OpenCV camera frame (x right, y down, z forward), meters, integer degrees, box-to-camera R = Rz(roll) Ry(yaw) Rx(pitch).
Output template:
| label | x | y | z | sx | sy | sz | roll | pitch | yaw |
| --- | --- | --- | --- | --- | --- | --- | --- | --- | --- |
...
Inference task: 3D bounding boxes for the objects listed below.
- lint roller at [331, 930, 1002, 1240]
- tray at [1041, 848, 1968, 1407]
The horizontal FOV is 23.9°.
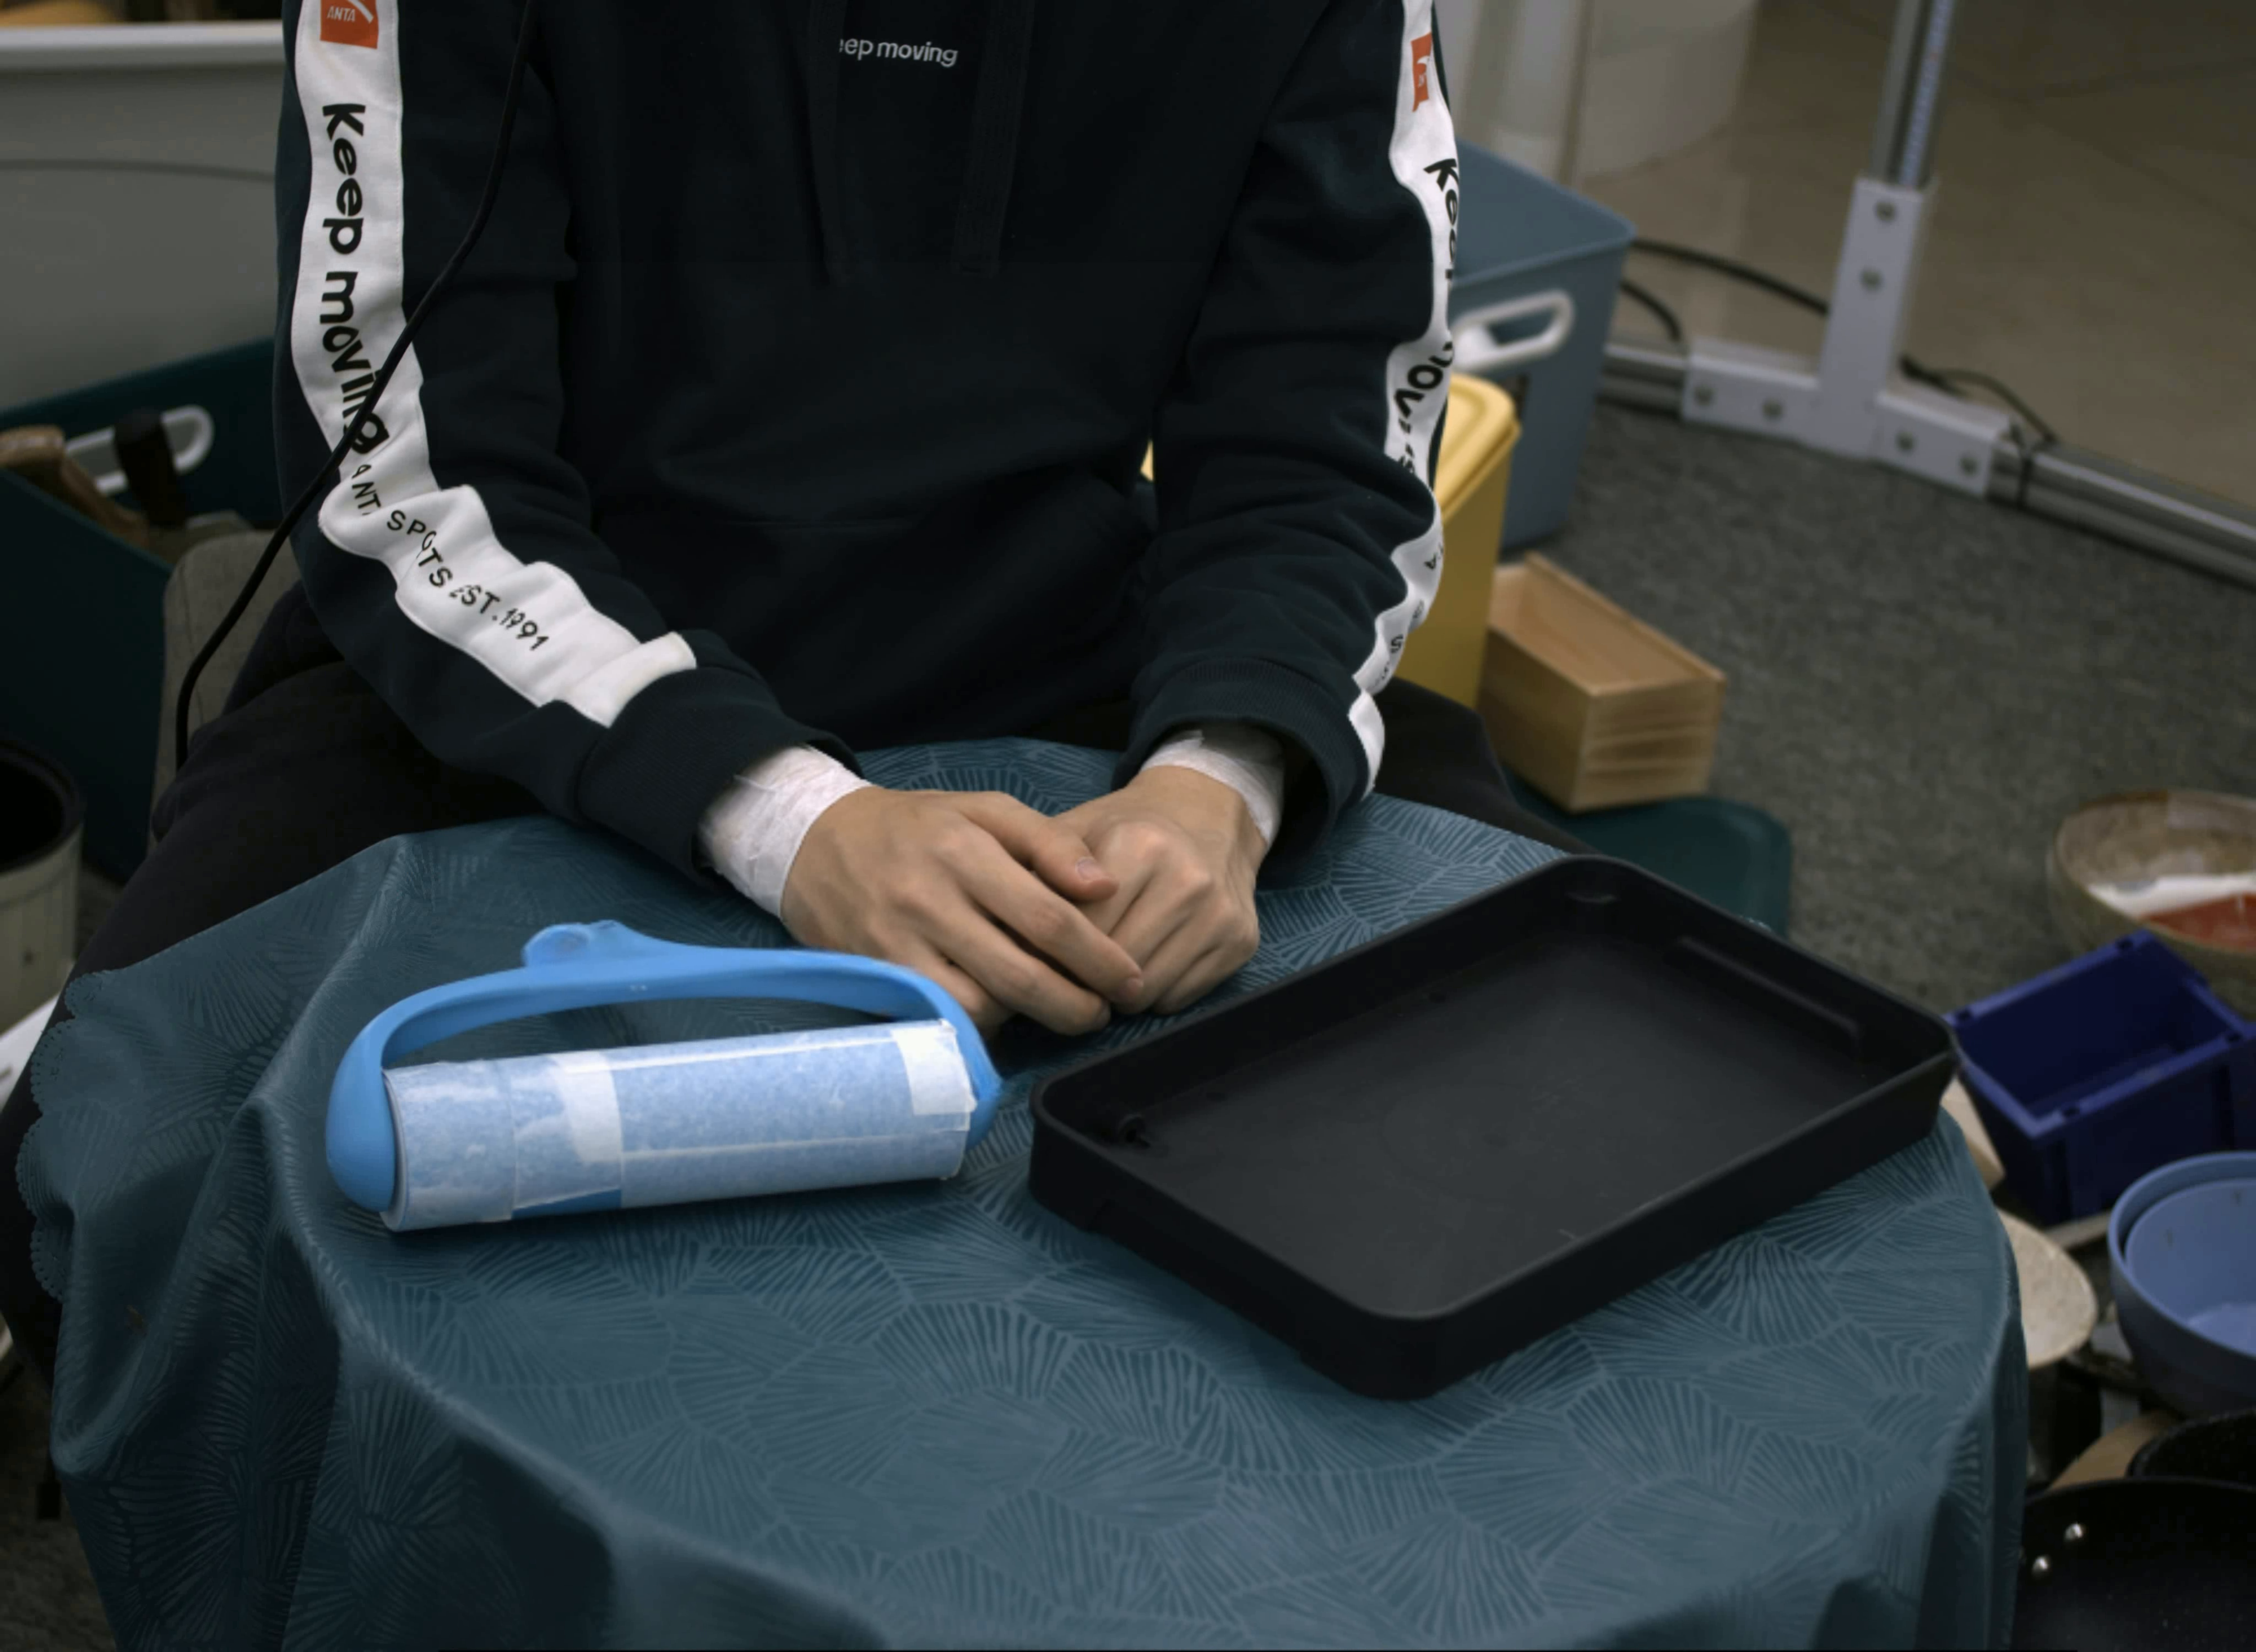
| label | x | y | z | sx | sy | sz | roll | pitch | yaw |
| --- | --- | --- | --- | --- | --- | --- | --- | --- | --- |
| lint roller | -0.173 | 0.070 | 1.802 | 0.227 | 0.067 | 0.182 | -7 | 31 | -22 |
| tray | 0.133 | 0.097 | 1.842 | 0.185 | 0.037 | 0.316 | 27 | 34 | 35 |
